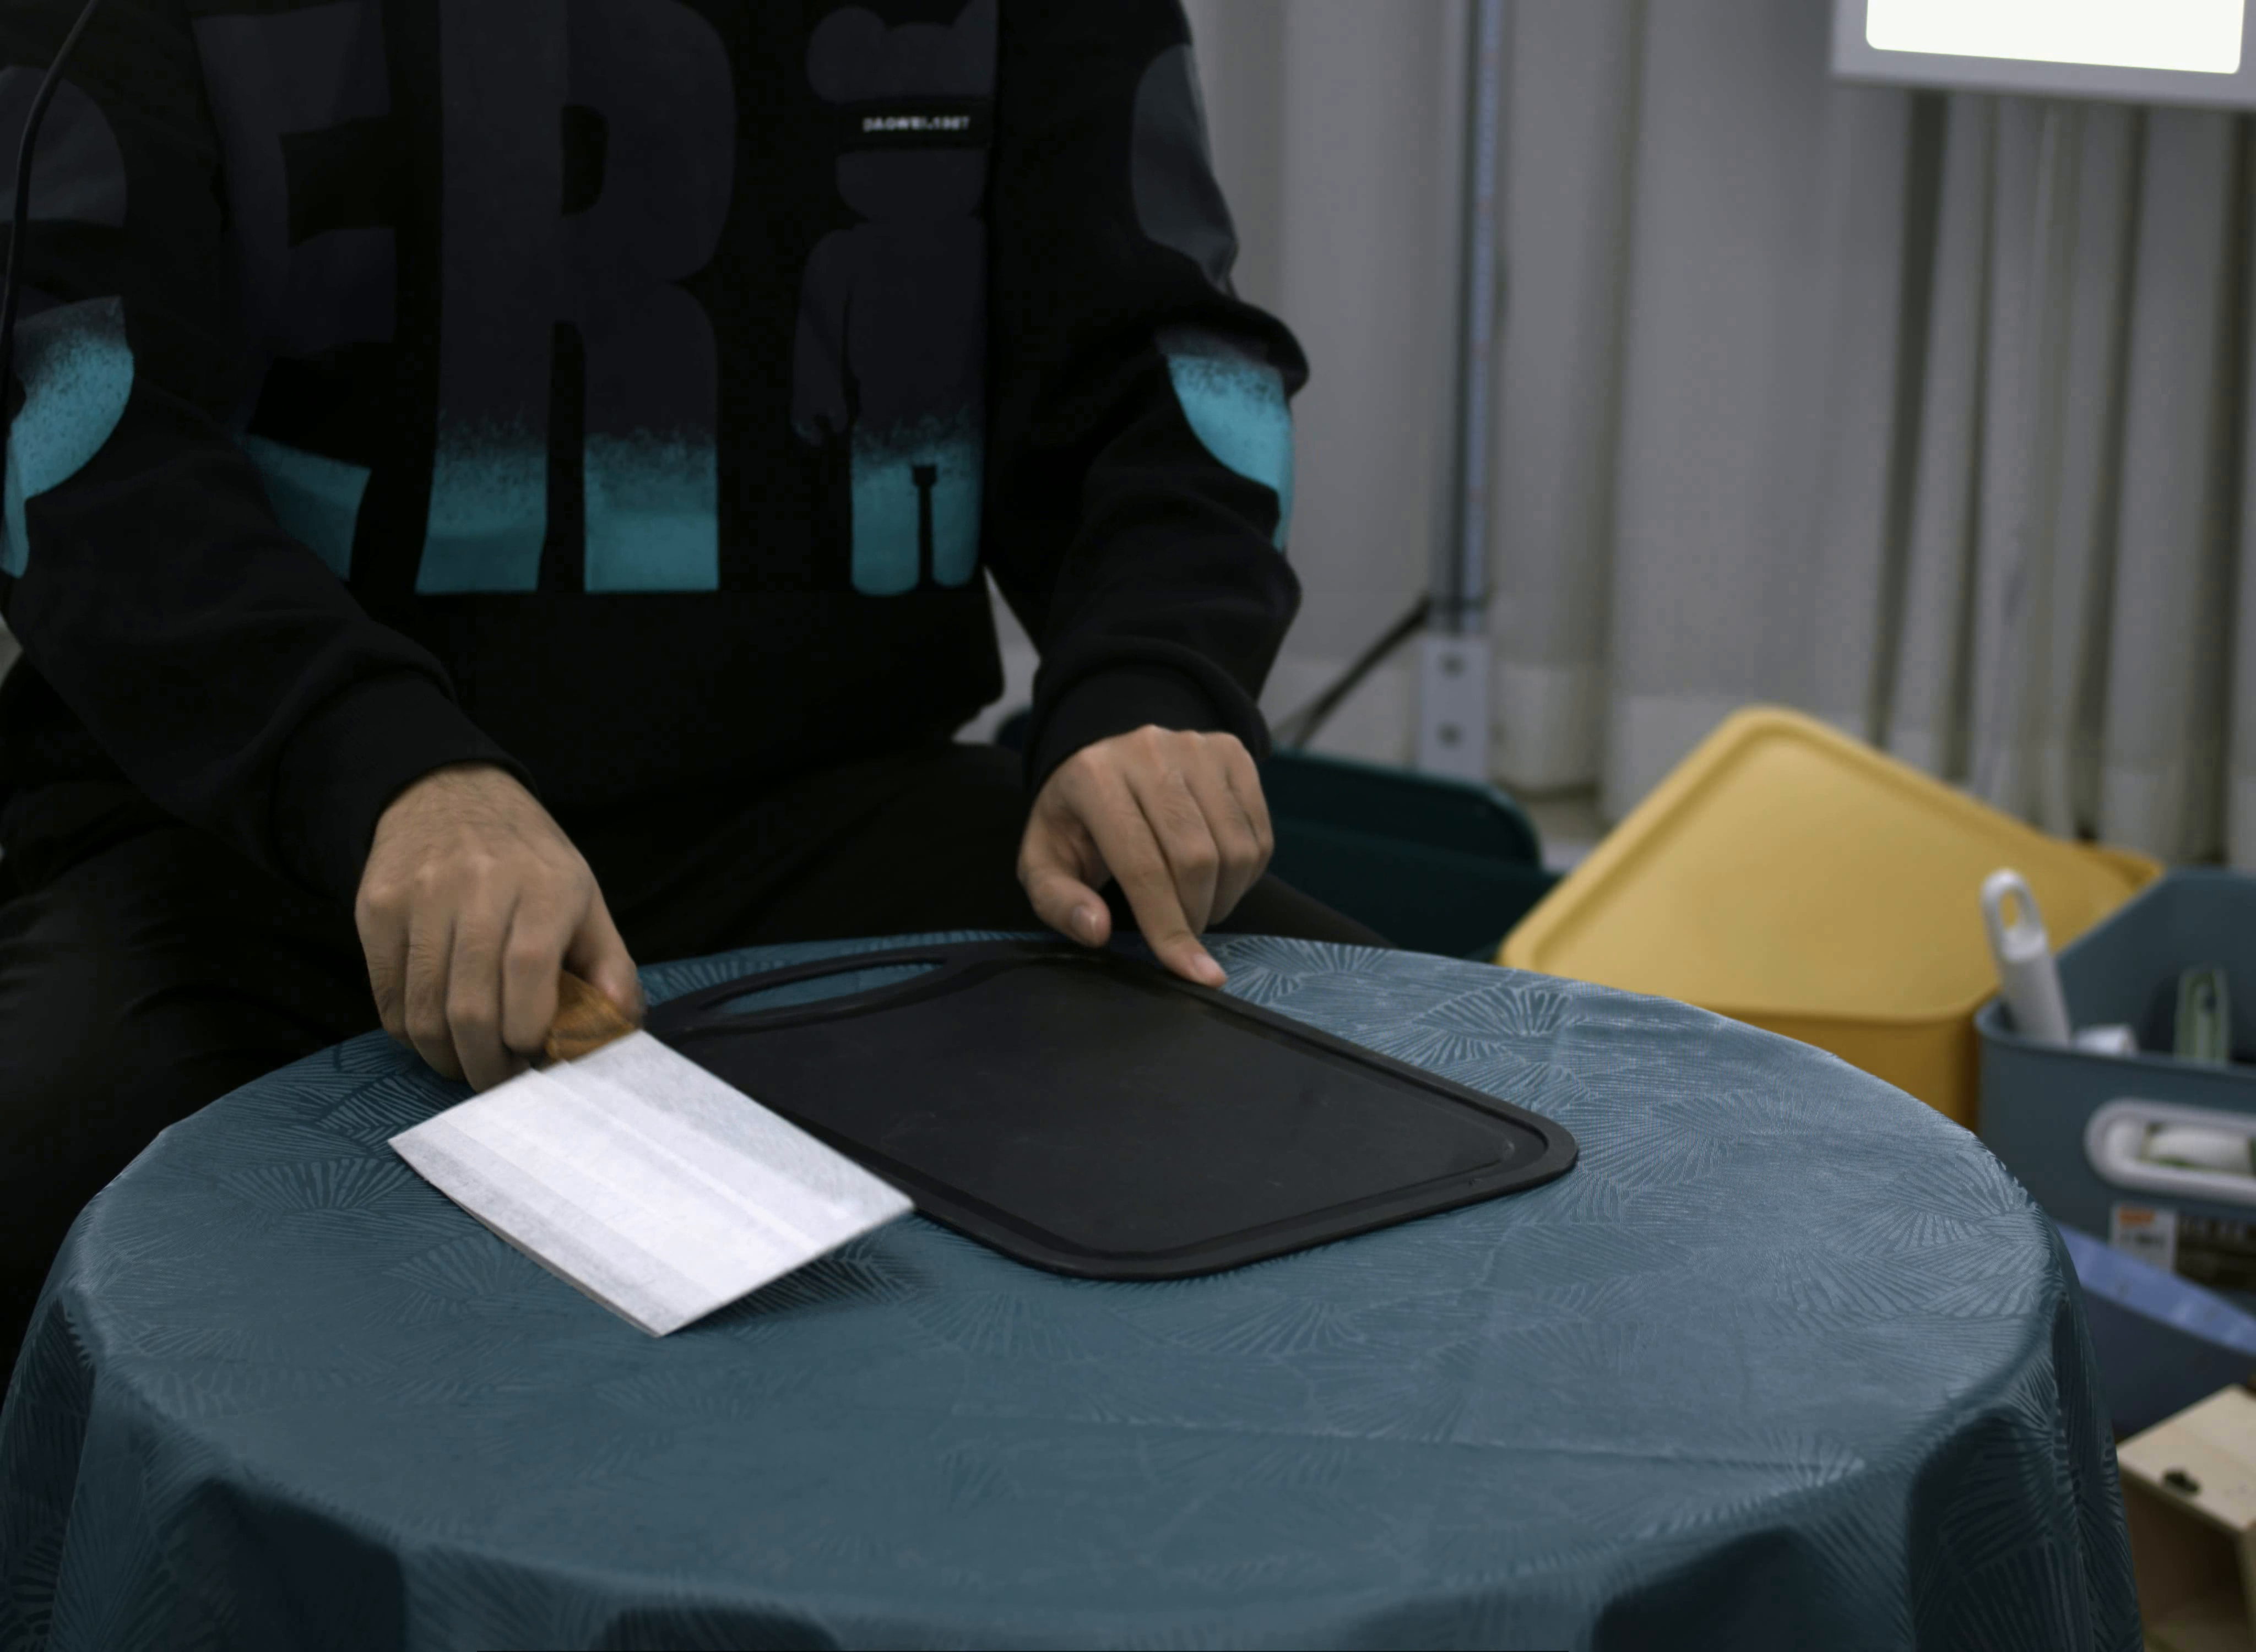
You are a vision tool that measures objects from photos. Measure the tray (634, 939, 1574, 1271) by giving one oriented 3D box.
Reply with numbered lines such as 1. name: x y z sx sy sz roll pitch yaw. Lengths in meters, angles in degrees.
1. tray: -0.021 0.084 1.711 0.212 0.010 0.321 -11 19 -35

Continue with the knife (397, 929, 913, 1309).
1. knife: -0.174 0.092 1.640 0.093 0.021 0.302 -24 26 -24
